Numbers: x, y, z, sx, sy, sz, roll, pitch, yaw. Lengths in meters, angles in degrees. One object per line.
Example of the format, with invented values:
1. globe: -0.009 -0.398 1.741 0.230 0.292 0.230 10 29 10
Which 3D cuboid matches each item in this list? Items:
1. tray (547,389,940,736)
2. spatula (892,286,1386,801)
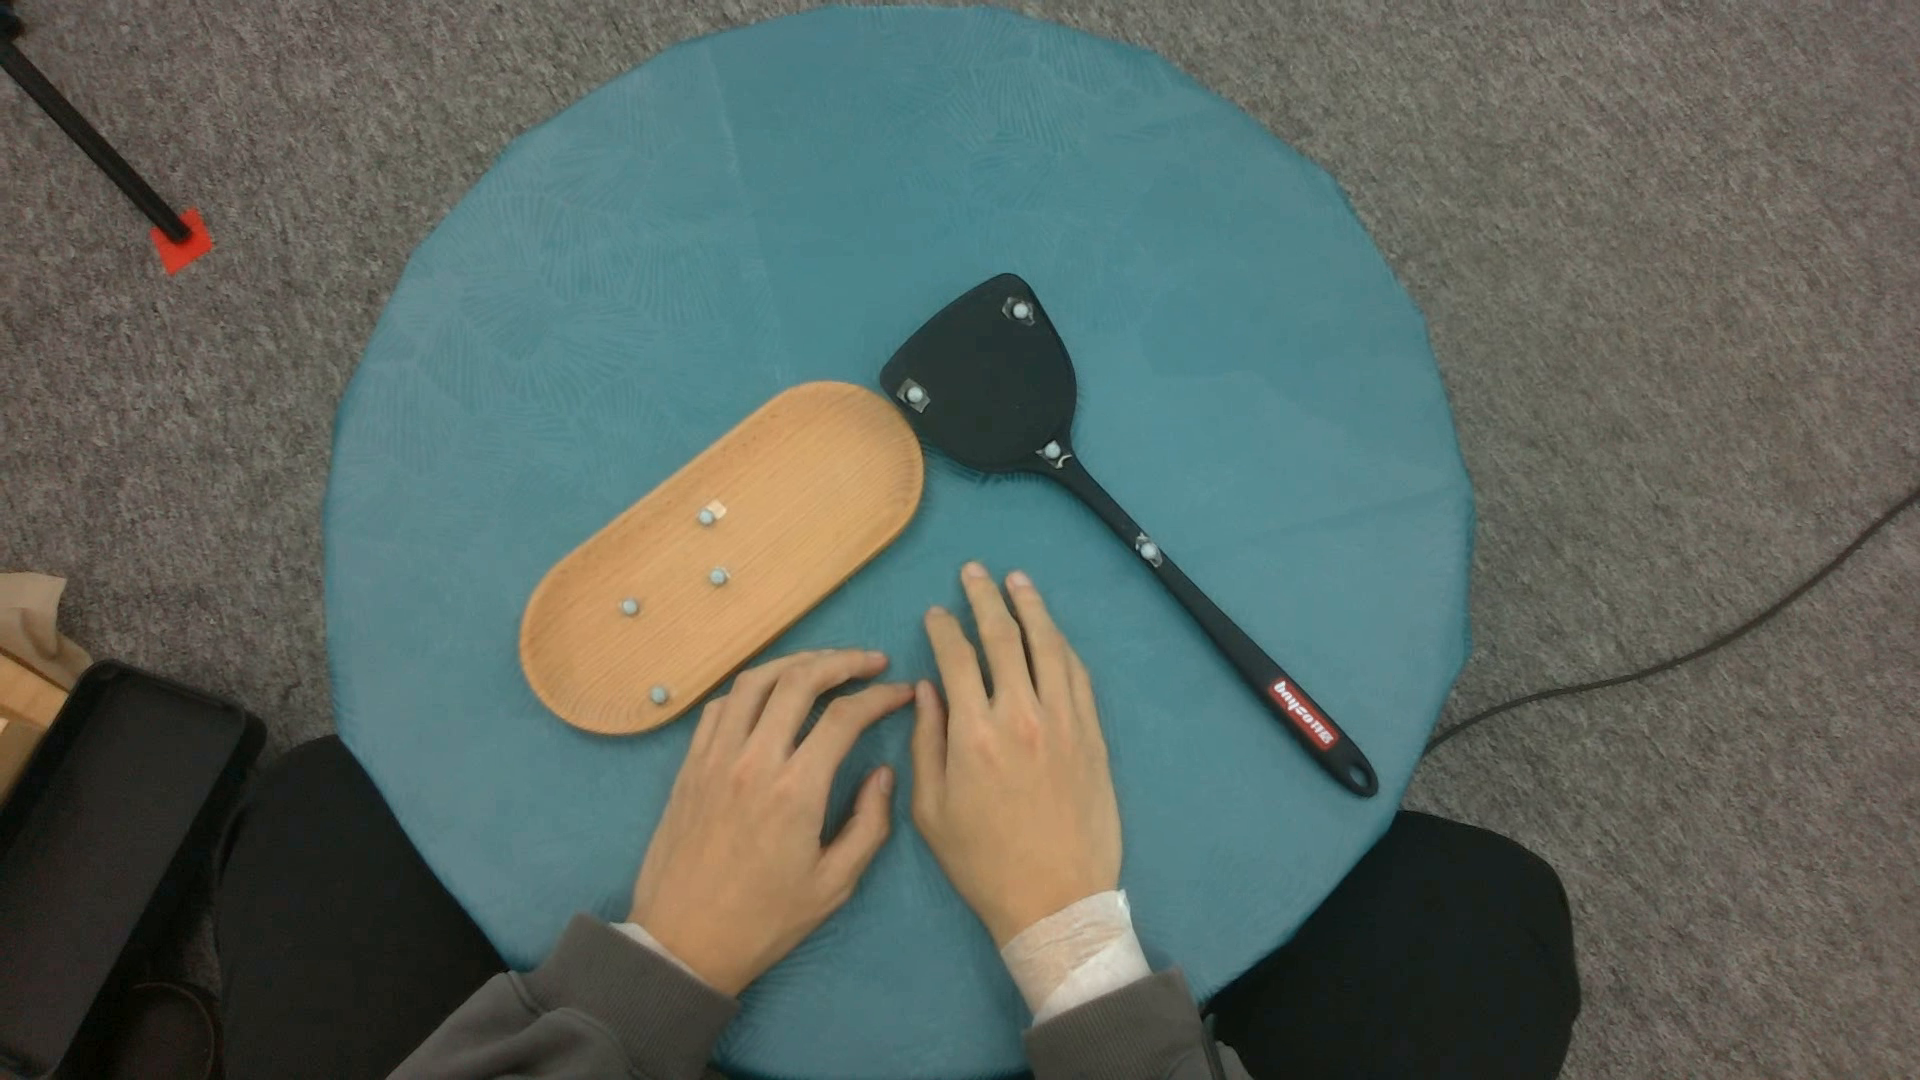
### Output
1. tray: -0.111 0.010 0.720 0.231 0.020 0.102 -40 76 -13
2. spatula: 0.102 0.008 0.709 0.100 0.040 0.326 -40 76 -11
